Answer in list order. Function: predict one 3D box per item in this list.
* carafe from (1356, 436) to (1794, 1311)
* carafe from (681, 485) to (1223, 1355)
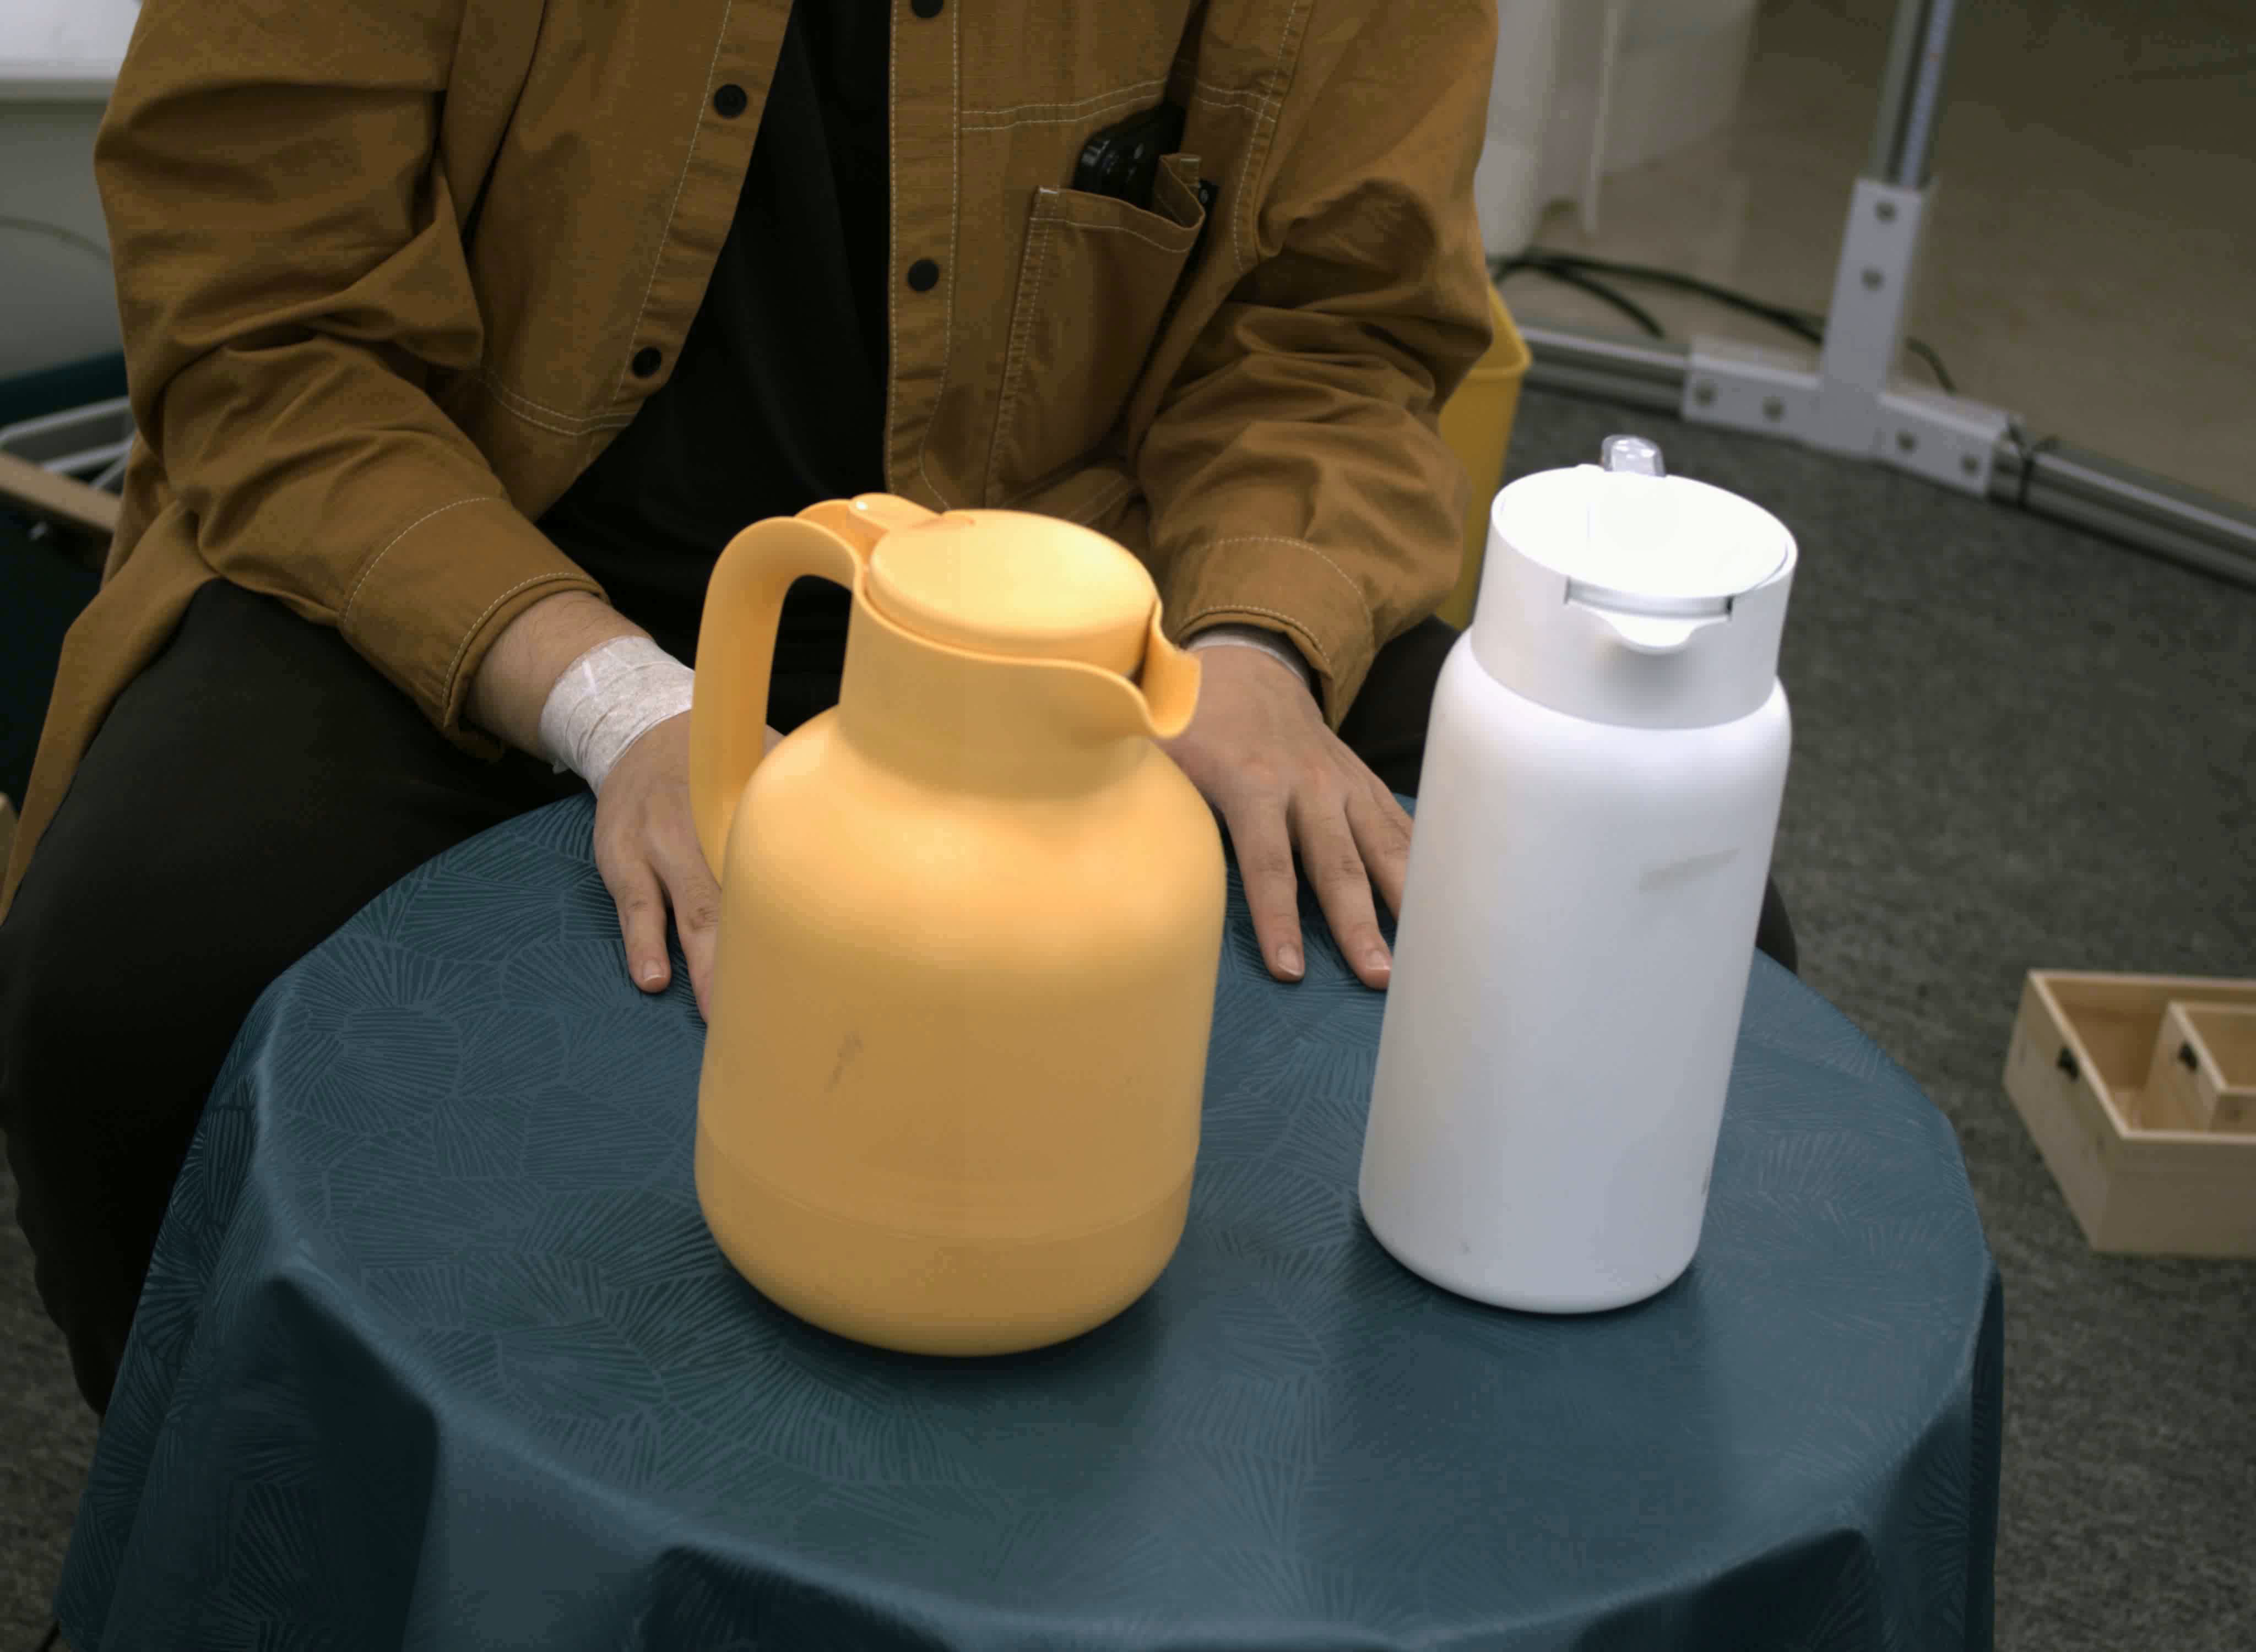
[{"bbox_3d":[0.147,0.012,1.763,0.123,0.268,0.174,4,26,-1],"label":"carafe"},{"bbox_3d":[-0.064,0.020,1.705,0.162,0.260,0.204,-16,35,-43],"label":"carafe"}]
